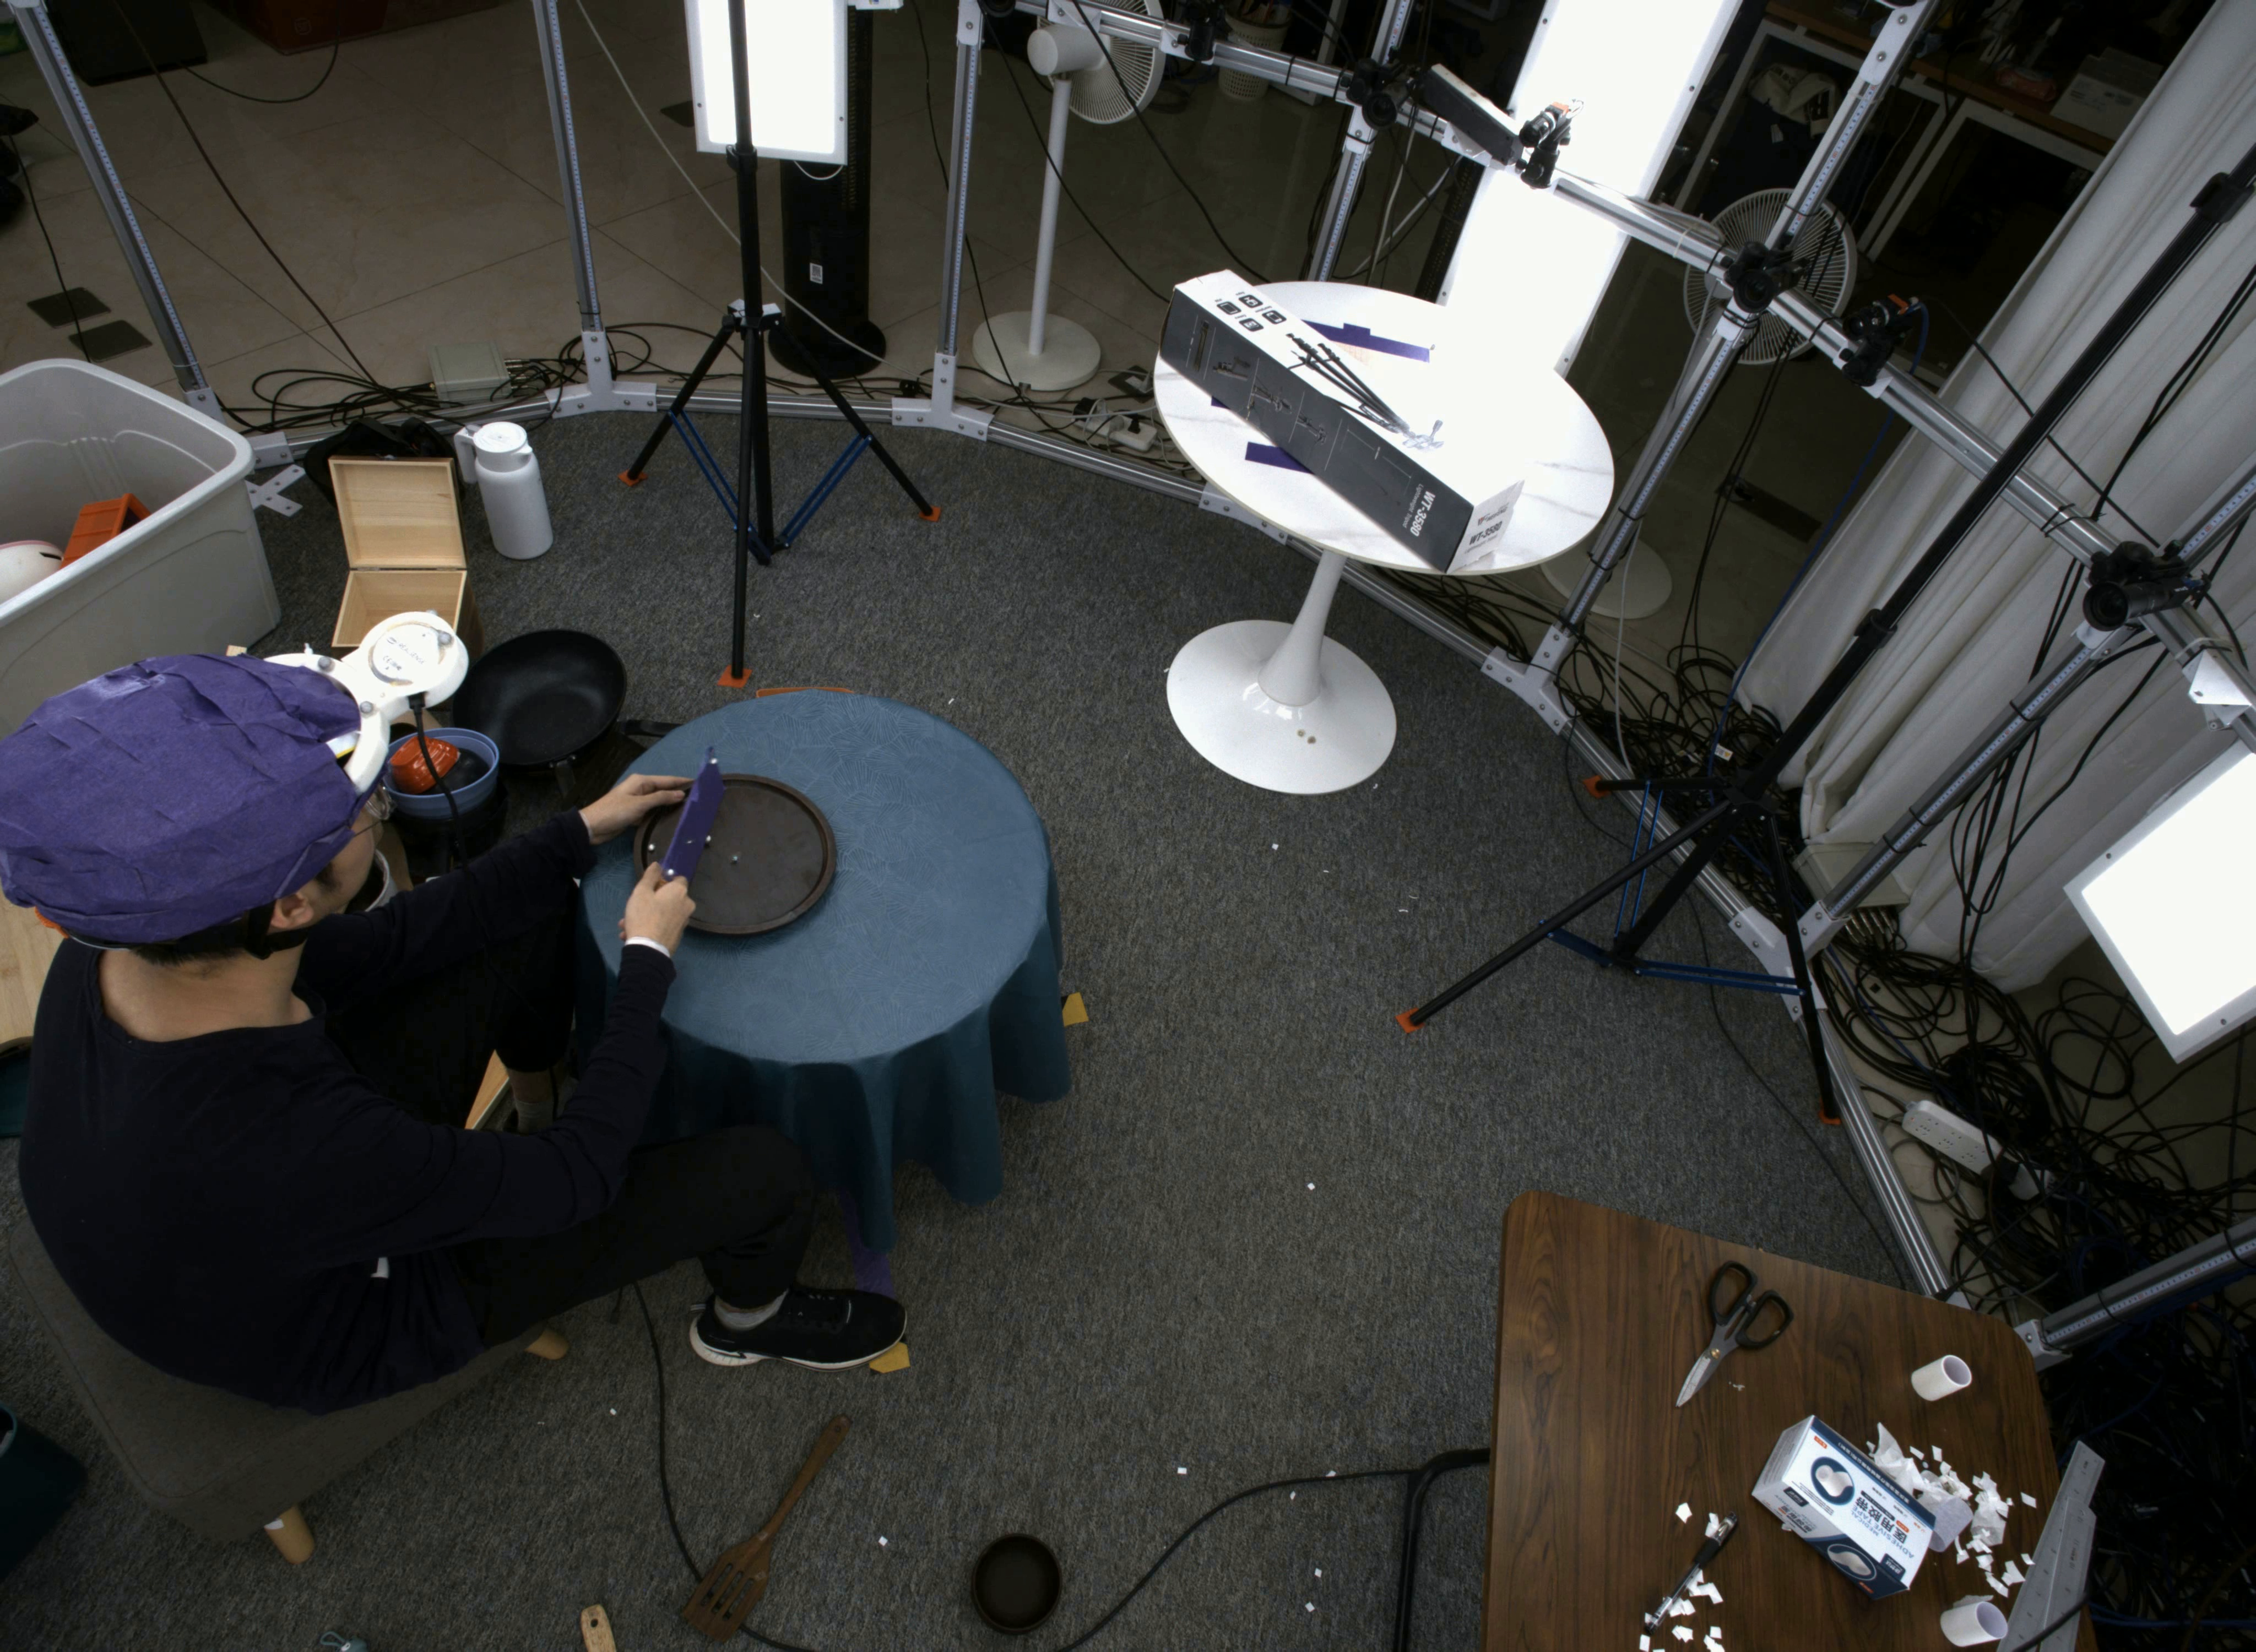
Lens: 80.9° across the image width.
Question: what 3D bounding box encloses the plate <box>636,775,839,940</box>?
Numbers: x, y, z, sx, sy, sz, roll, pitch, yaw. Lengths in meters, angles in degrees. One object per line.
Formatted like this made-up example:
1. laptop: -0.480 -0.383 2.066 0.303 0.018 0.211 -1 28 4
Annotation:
1. plate: -0.501 0.037 1.664 0.255 0.029 0.250 11 54 -13

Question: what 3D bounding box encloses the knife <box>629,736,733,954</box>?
1. knife: -0.539 0.036 1.583 0.032 0.107 0.310 6 51 4
